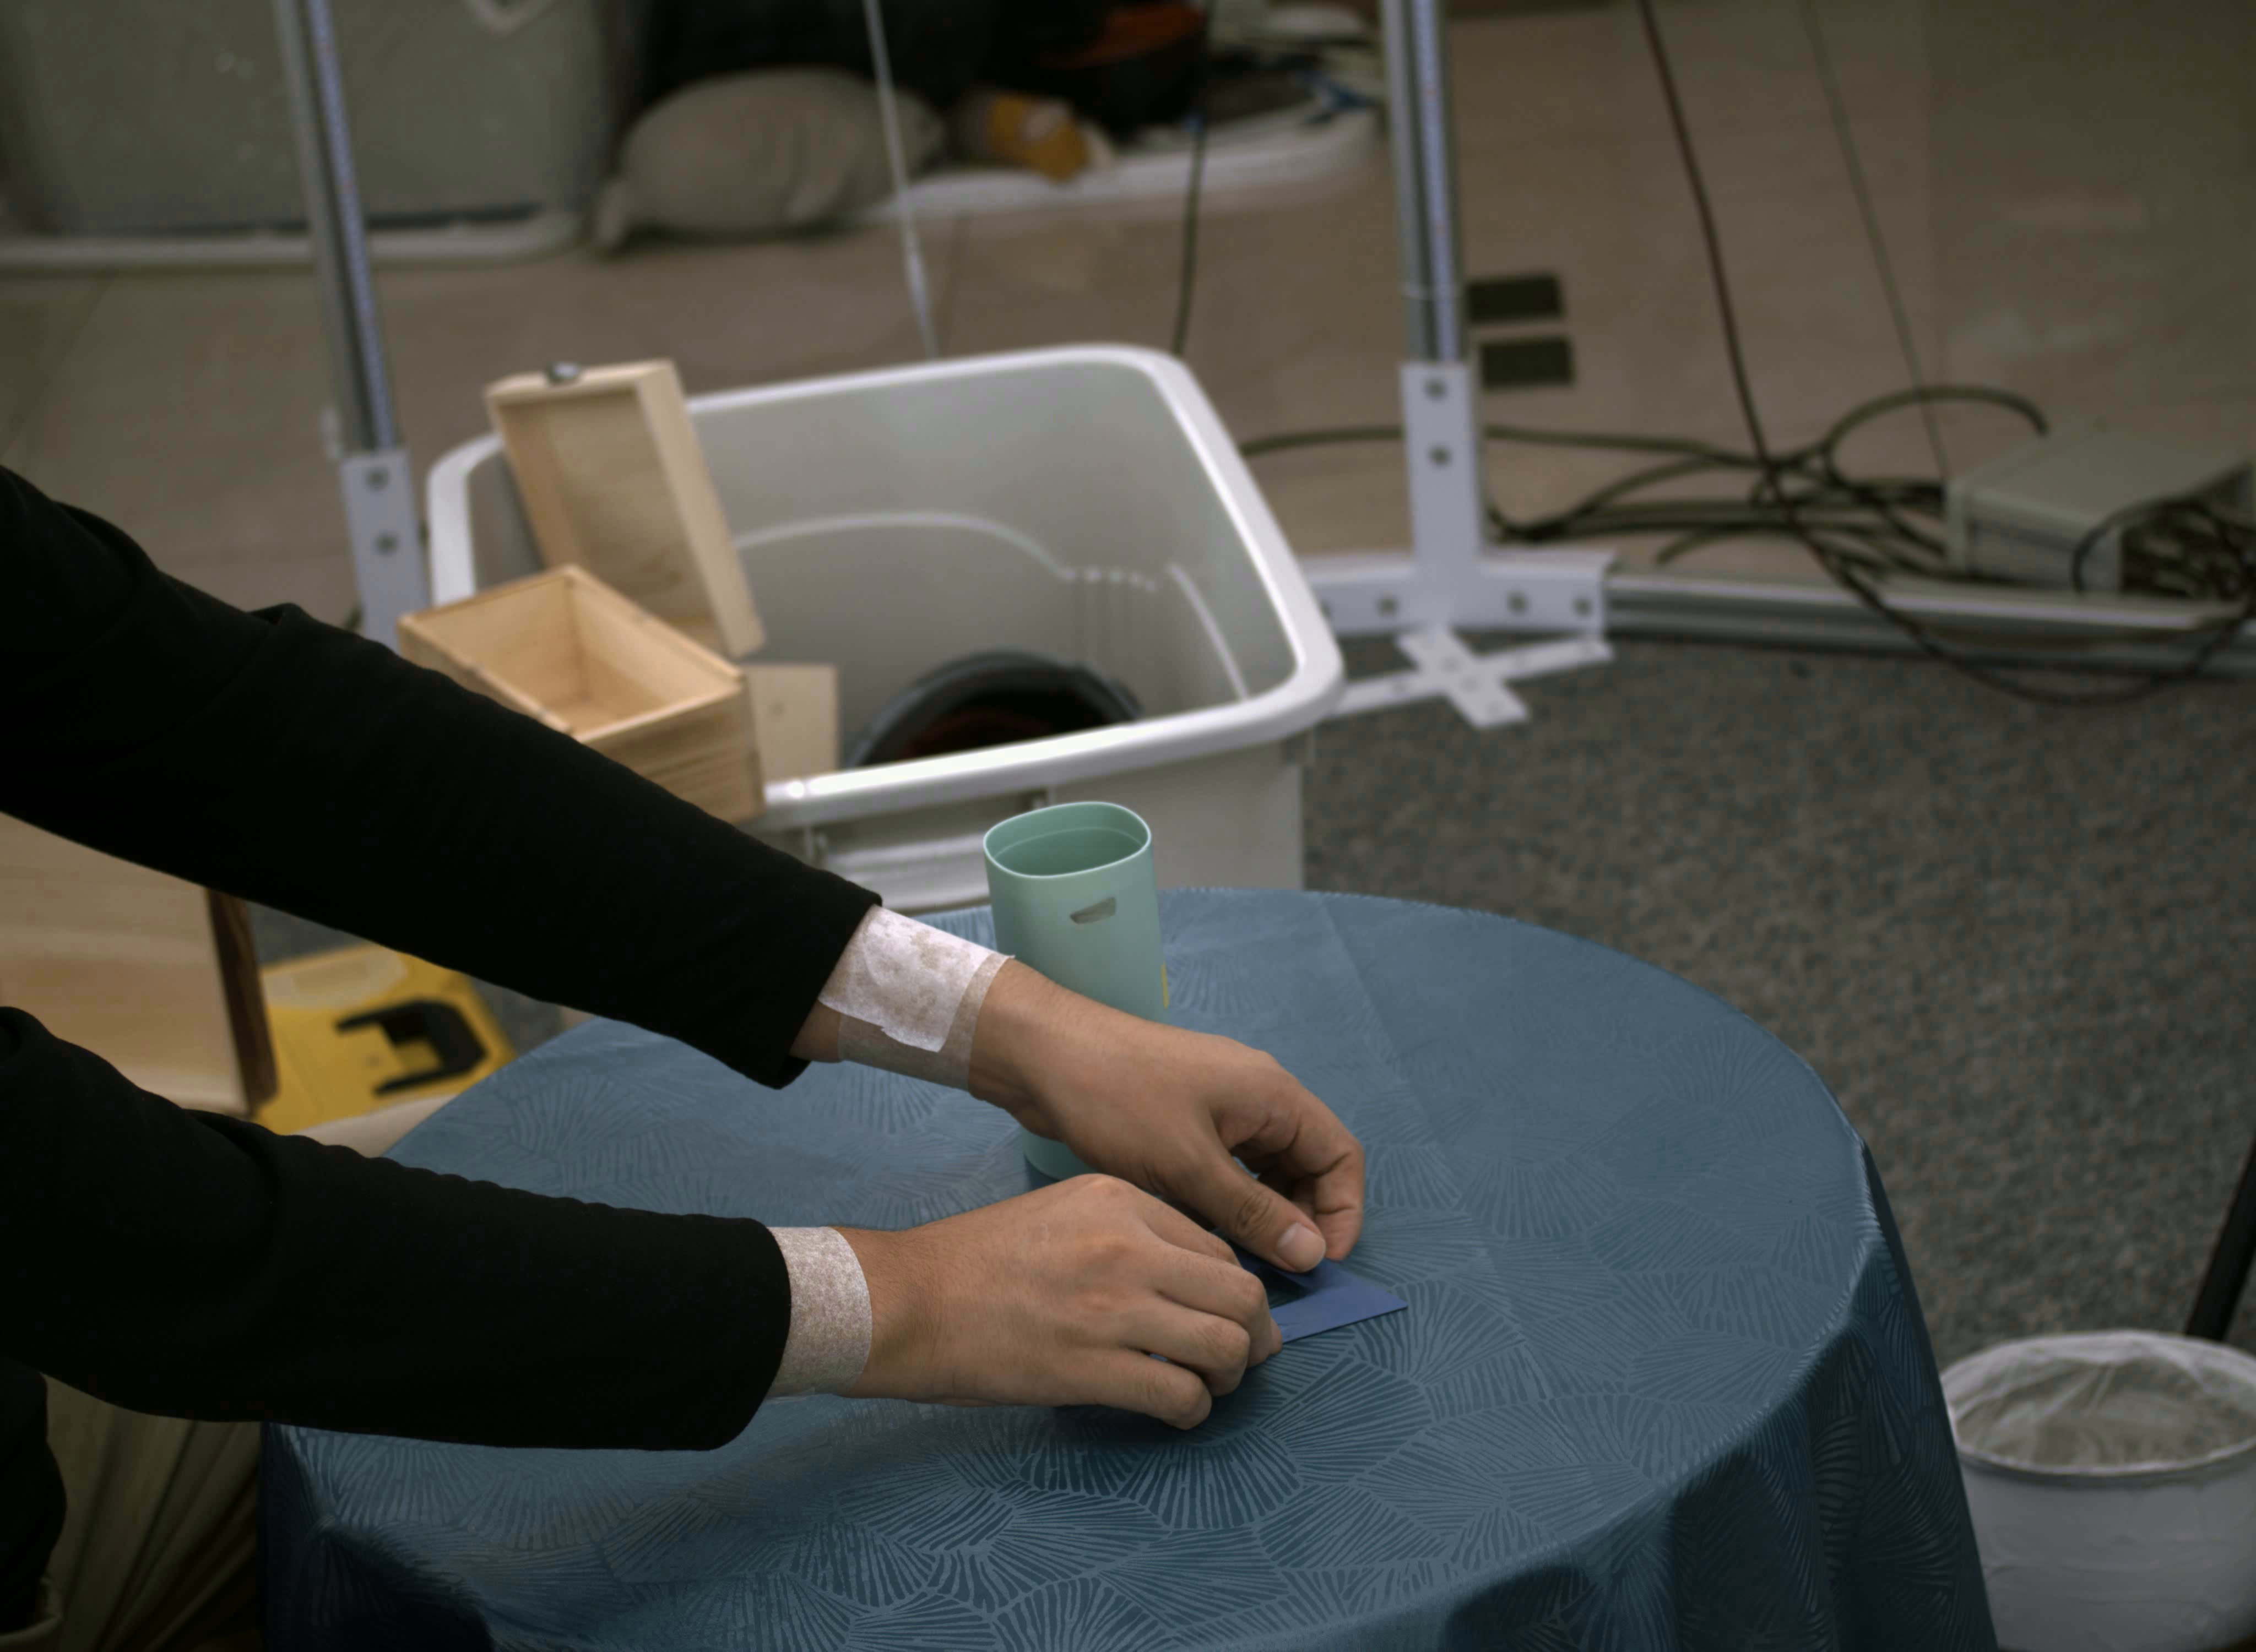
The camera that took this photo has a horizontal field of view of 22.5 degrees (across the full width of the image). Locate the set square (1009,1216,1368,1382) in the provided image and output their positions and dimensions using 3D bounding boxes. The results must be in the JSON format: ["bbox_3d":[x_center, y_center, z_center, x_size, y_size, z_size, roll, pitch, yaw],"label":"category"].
[{"bbox_3d":[0.016,0.168,2.052,0.131,0.007,0.060,-11,44,-11],"label":"set square"}]

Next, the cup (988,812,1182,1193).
[{"bbox_3d":[-0.017,0.067,2.158,0.066,0.134,0.066,-5,26,2],"label":"cup"}]
